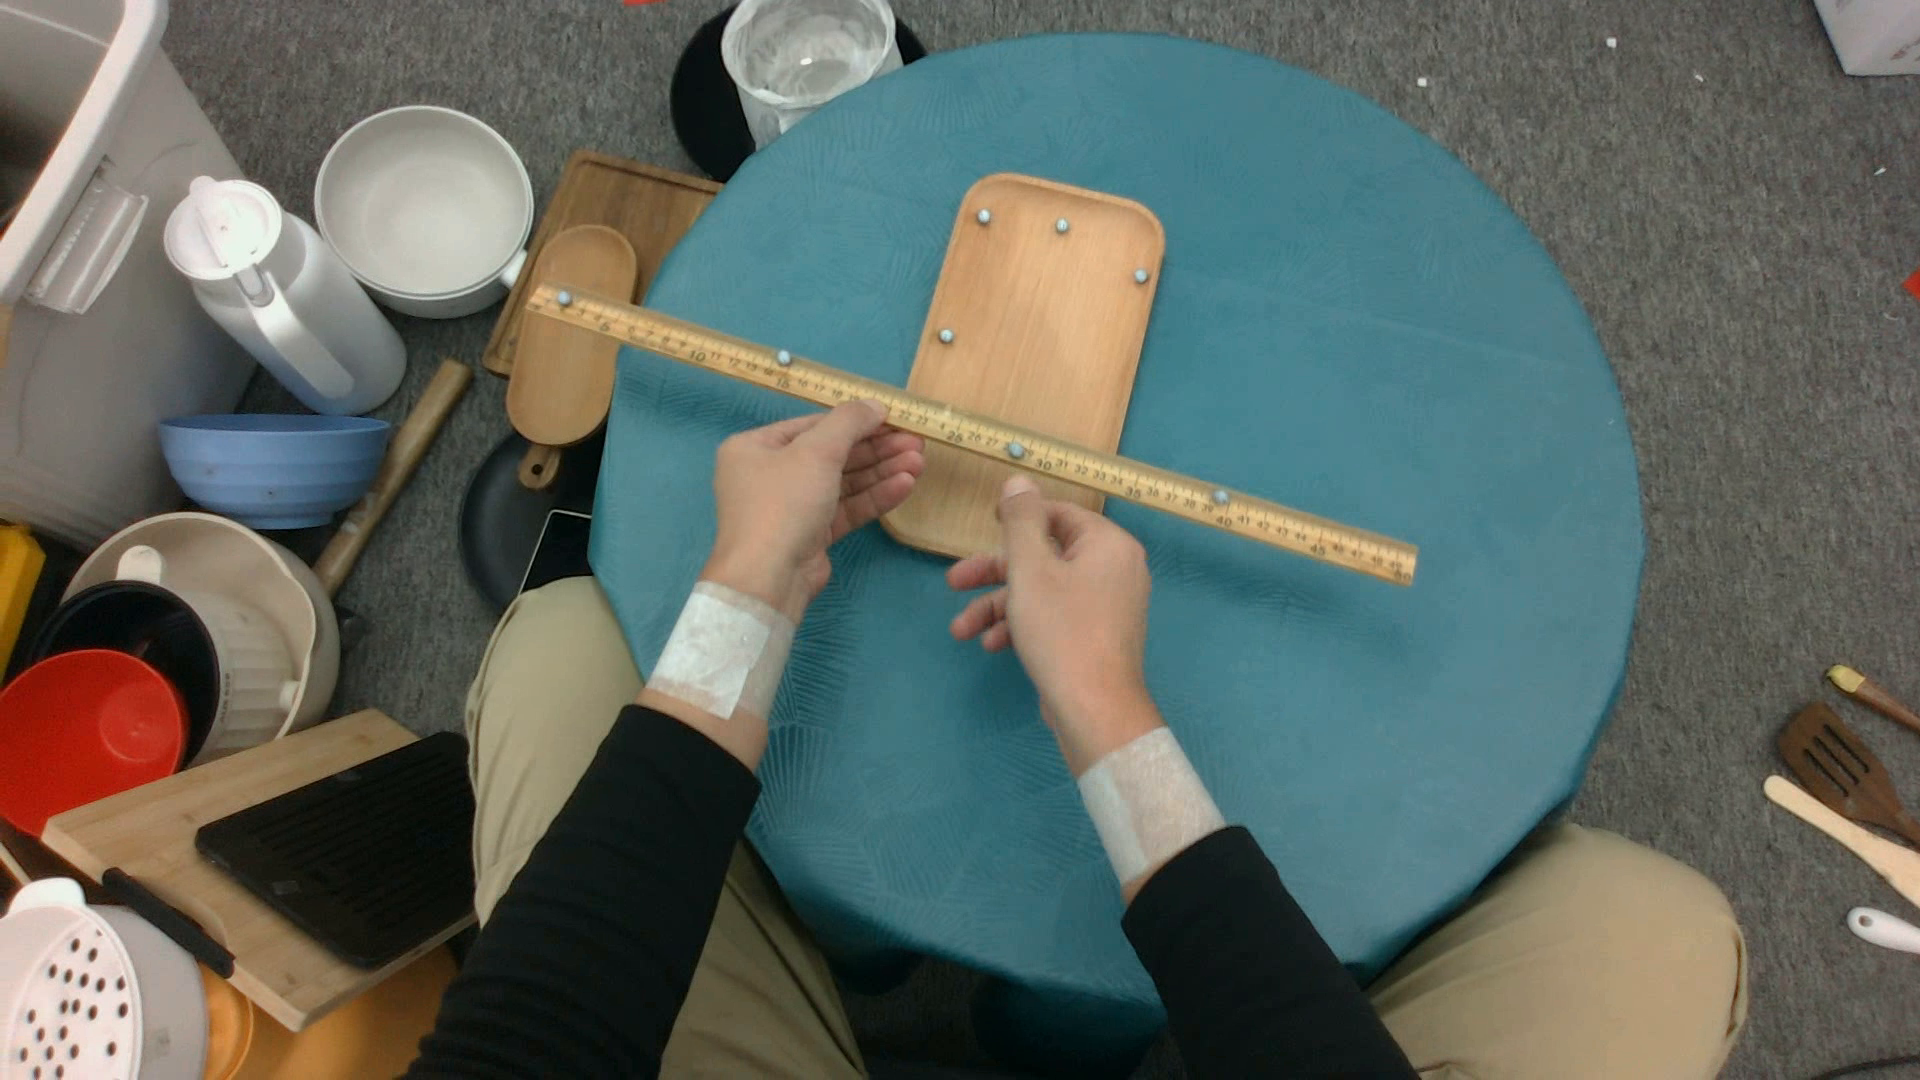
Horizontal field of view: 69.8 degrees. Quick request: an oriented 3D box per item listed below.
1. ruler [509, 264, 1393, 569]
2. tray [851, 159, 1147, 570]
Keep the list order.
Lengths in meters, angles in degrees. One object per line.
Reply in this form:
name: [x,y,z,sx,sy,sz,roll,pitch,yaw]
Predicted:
ruler: [-0.012,-0.070,0.746,0.500,0.006,0.027,18,60,6]
tray: [0.026,-0.107,0.805,0.130,0.023,0.251,14,72,5]
